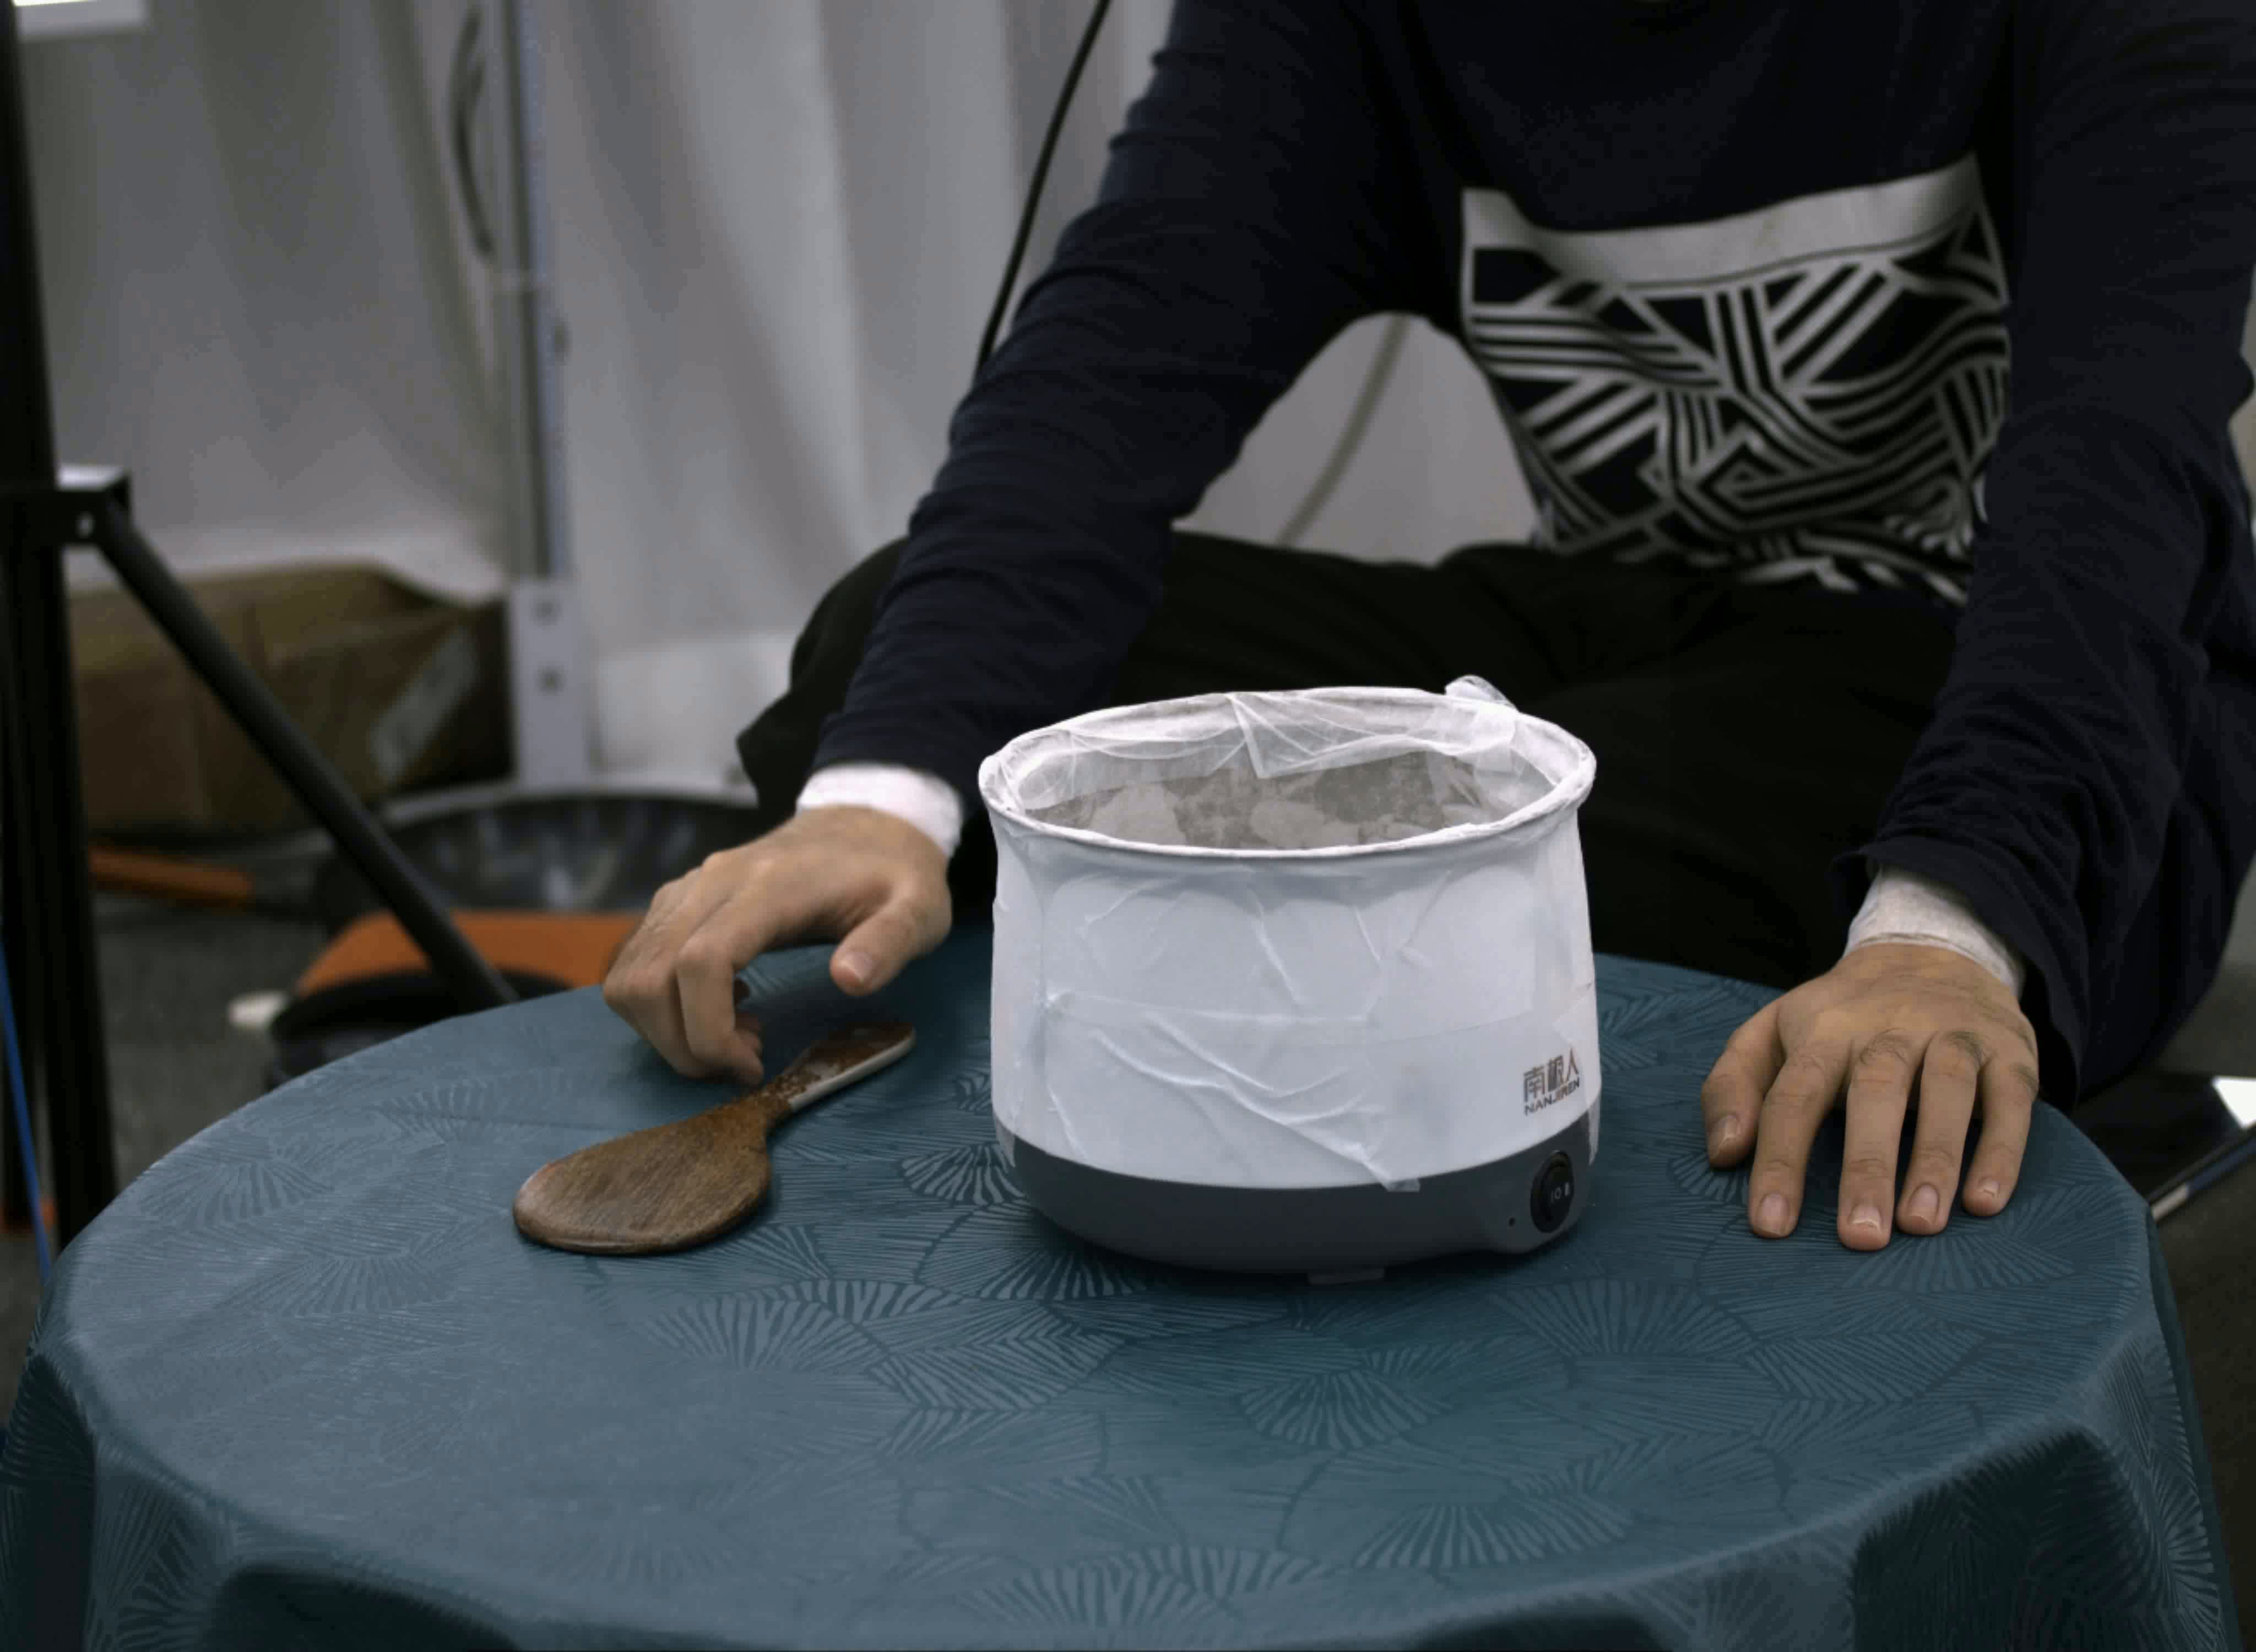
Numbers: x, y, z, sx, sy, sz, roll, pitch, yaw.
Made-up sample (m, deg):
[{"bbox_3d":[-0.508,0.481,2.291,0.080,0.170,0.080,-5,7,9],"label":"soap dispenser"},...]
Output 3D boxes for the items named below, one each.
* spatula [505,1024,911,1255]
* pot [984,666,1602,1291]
[{"bbox_3d":[-0.116,0.093,1.624,0.073,0.009,0.212,7,17,23],"label":"spatula"},{"bbox_3d":[0.062,0.036,1.550,0.182,0.136,0.229,11,22,33],"label":"pot"}]
